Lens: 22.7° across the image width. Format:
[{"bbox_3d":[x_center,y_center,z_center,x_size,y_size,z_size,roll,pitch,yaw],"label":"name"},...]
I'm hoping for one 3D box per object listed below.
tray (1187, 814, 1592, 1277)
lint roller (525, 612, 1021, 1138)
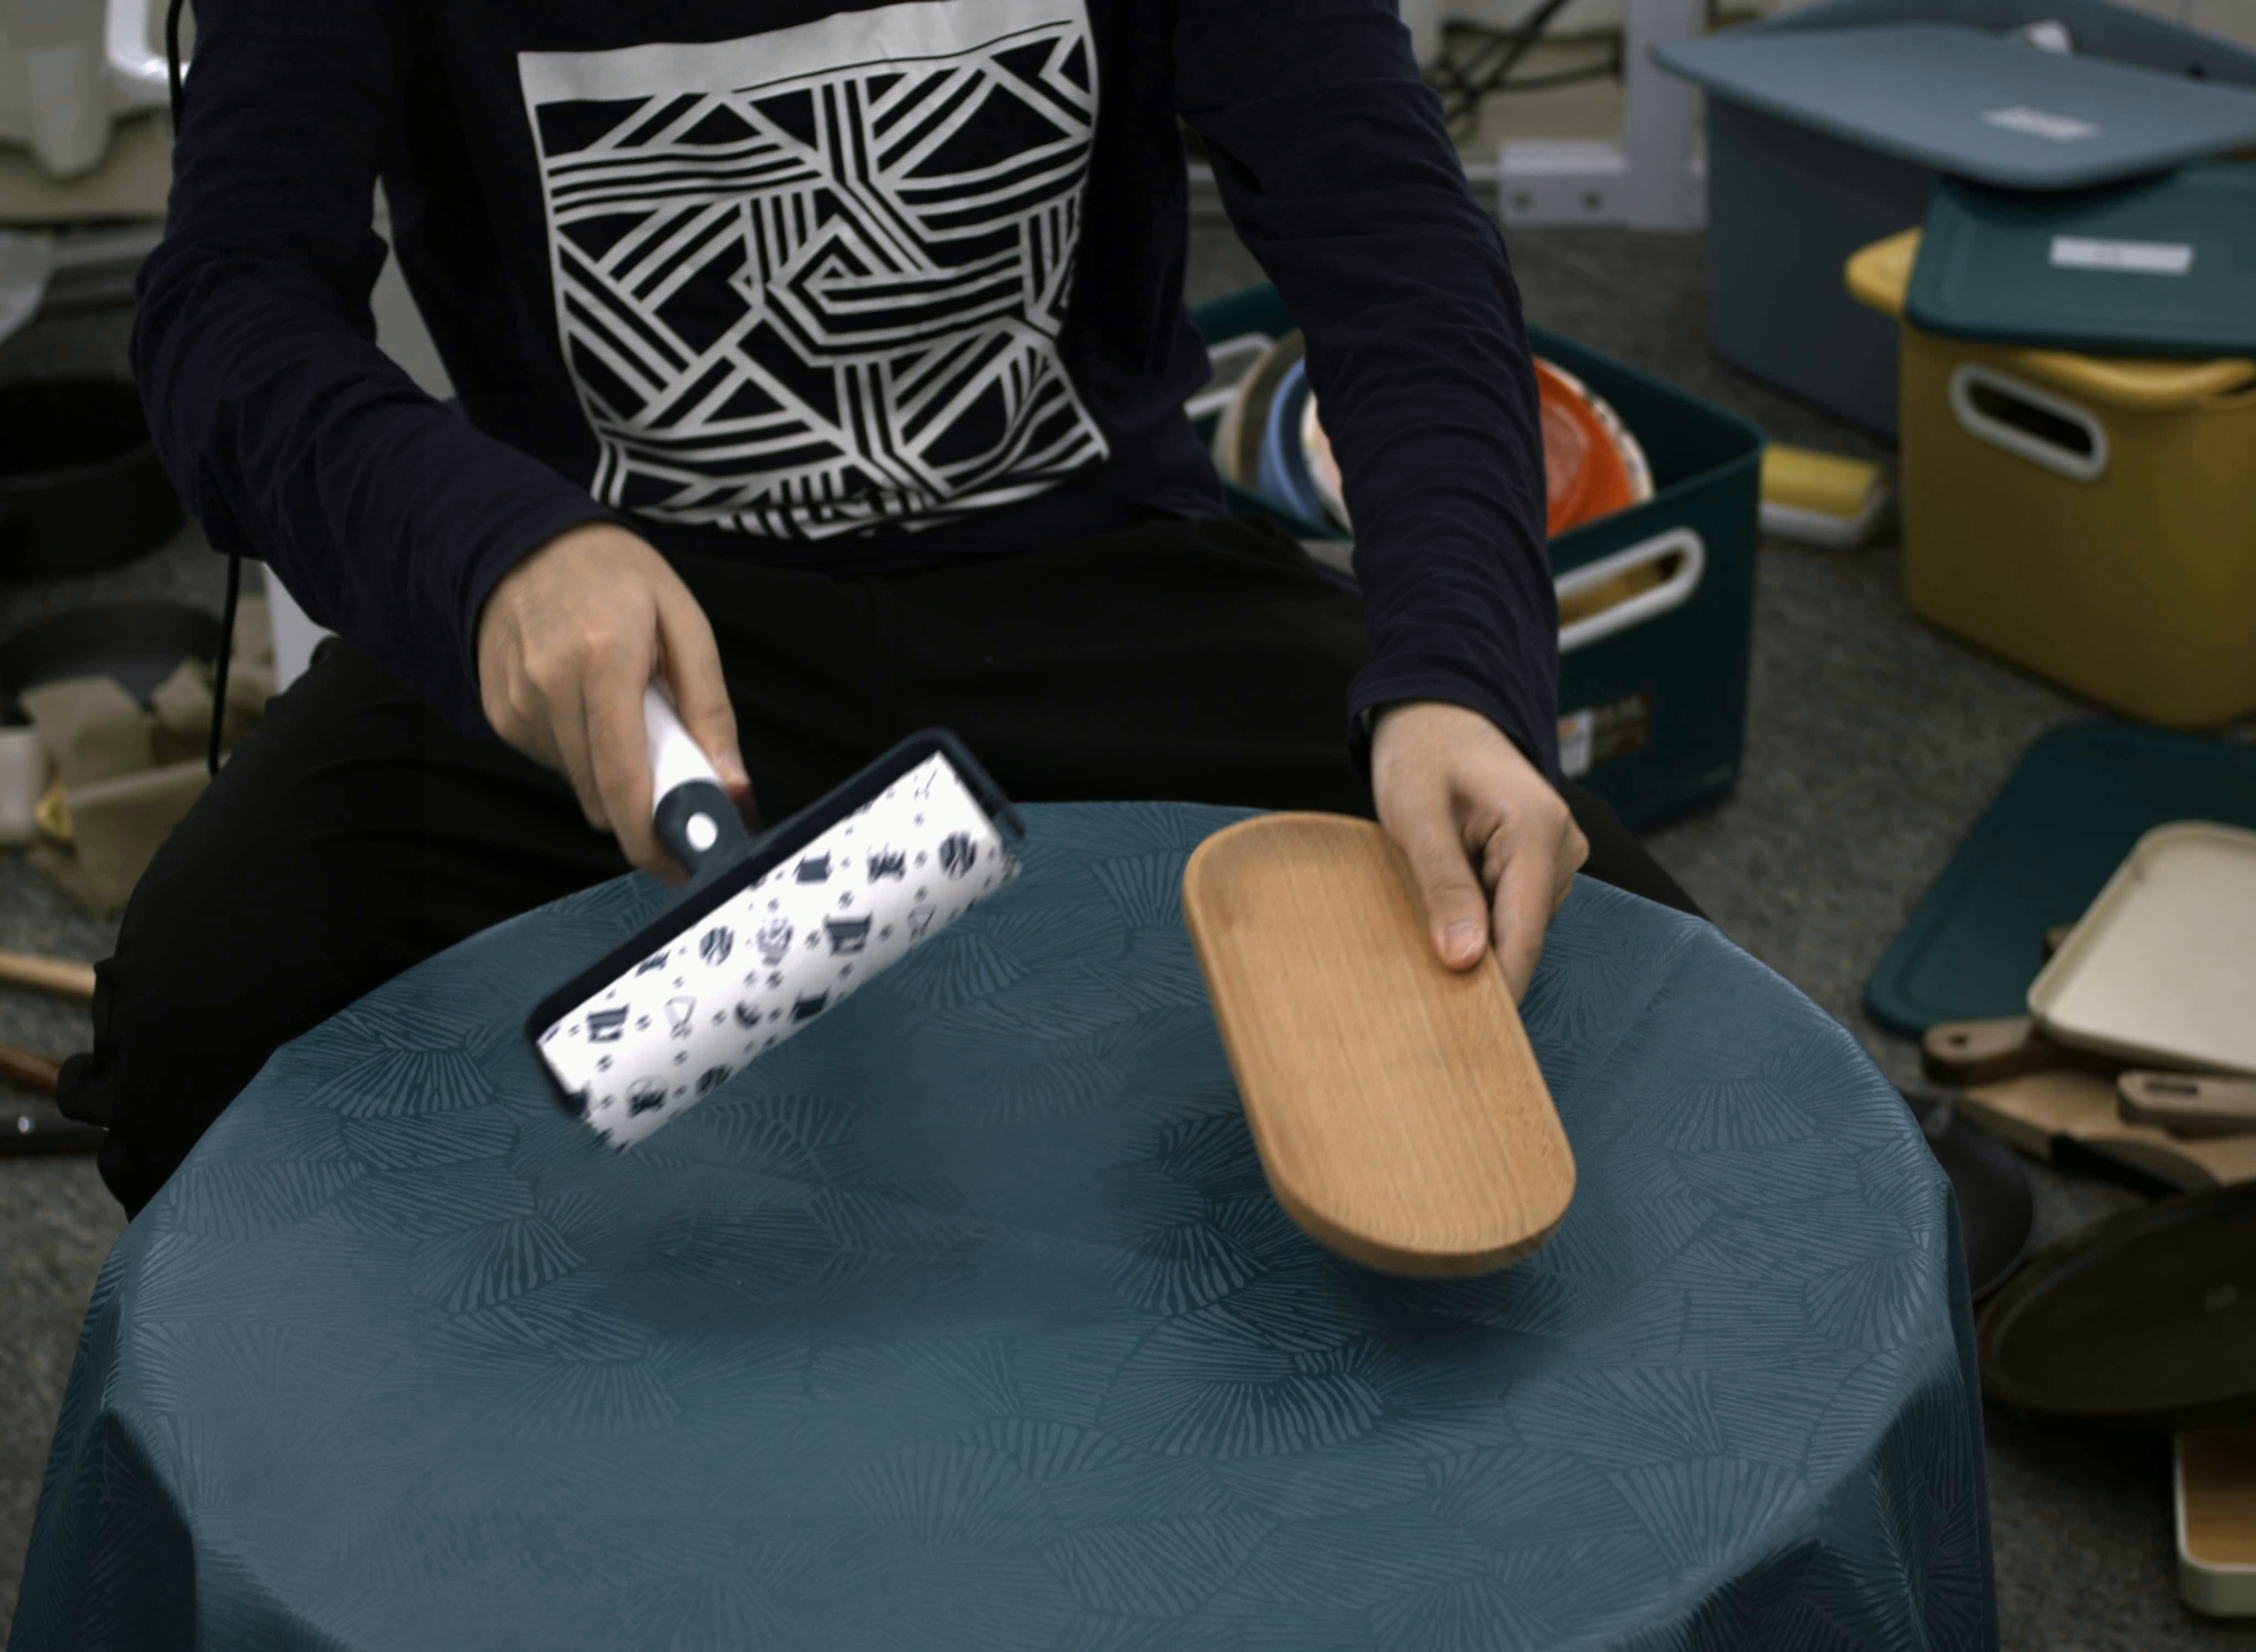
[{"bbox_3d":[0.082,0.069,1.831,0.101,0.020,0.235,0,37,-14],"label":"tray"},{"bbox_3d":[-0.151,-0.012,1.900,0.176,0.050,0.249,-37,38,-2],"label":"lint roller"}]
